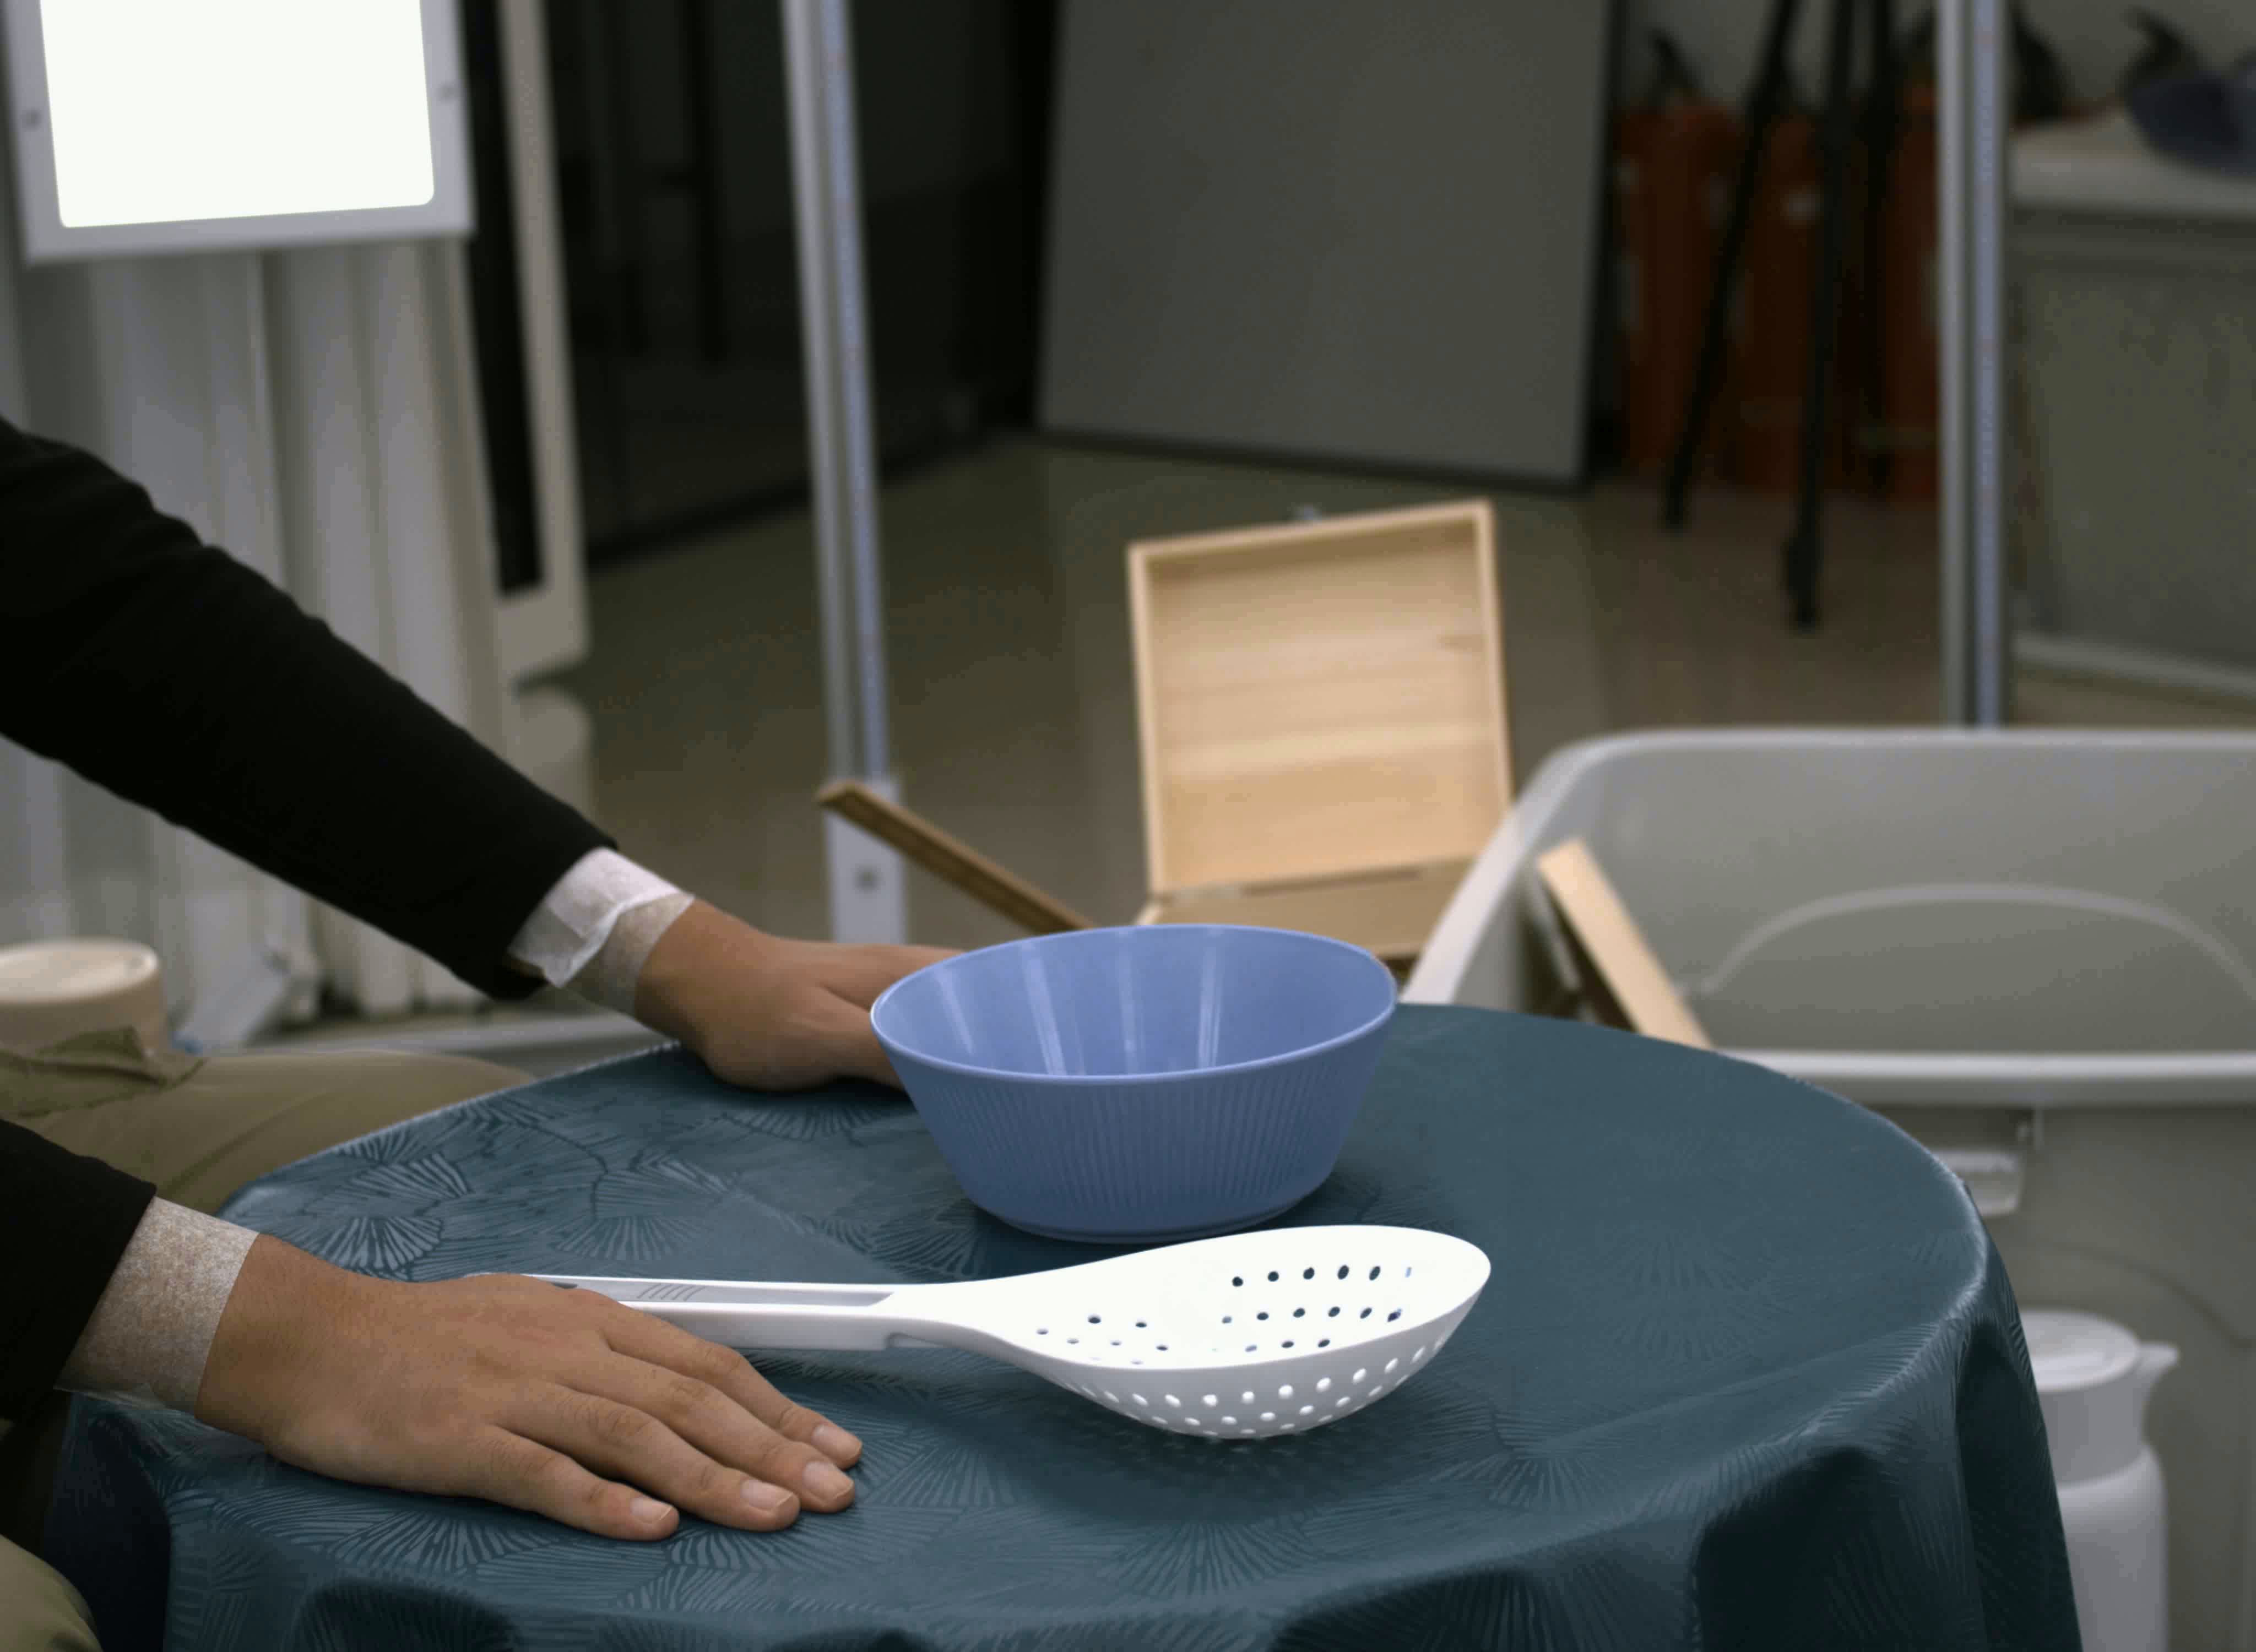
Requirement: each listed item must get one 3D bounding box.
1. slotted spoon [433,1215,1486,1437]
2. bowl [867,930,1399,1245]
[{"bbox_3d":[-0.057,0.145,1.594,0.350,0.046,0.134,2,15,28],"label":"slotted spoon"},{"bbox_3d":[0.004,0.087,1.760,0.174,0.071,0.176,-5,14,0],"label":"bowl"}]
